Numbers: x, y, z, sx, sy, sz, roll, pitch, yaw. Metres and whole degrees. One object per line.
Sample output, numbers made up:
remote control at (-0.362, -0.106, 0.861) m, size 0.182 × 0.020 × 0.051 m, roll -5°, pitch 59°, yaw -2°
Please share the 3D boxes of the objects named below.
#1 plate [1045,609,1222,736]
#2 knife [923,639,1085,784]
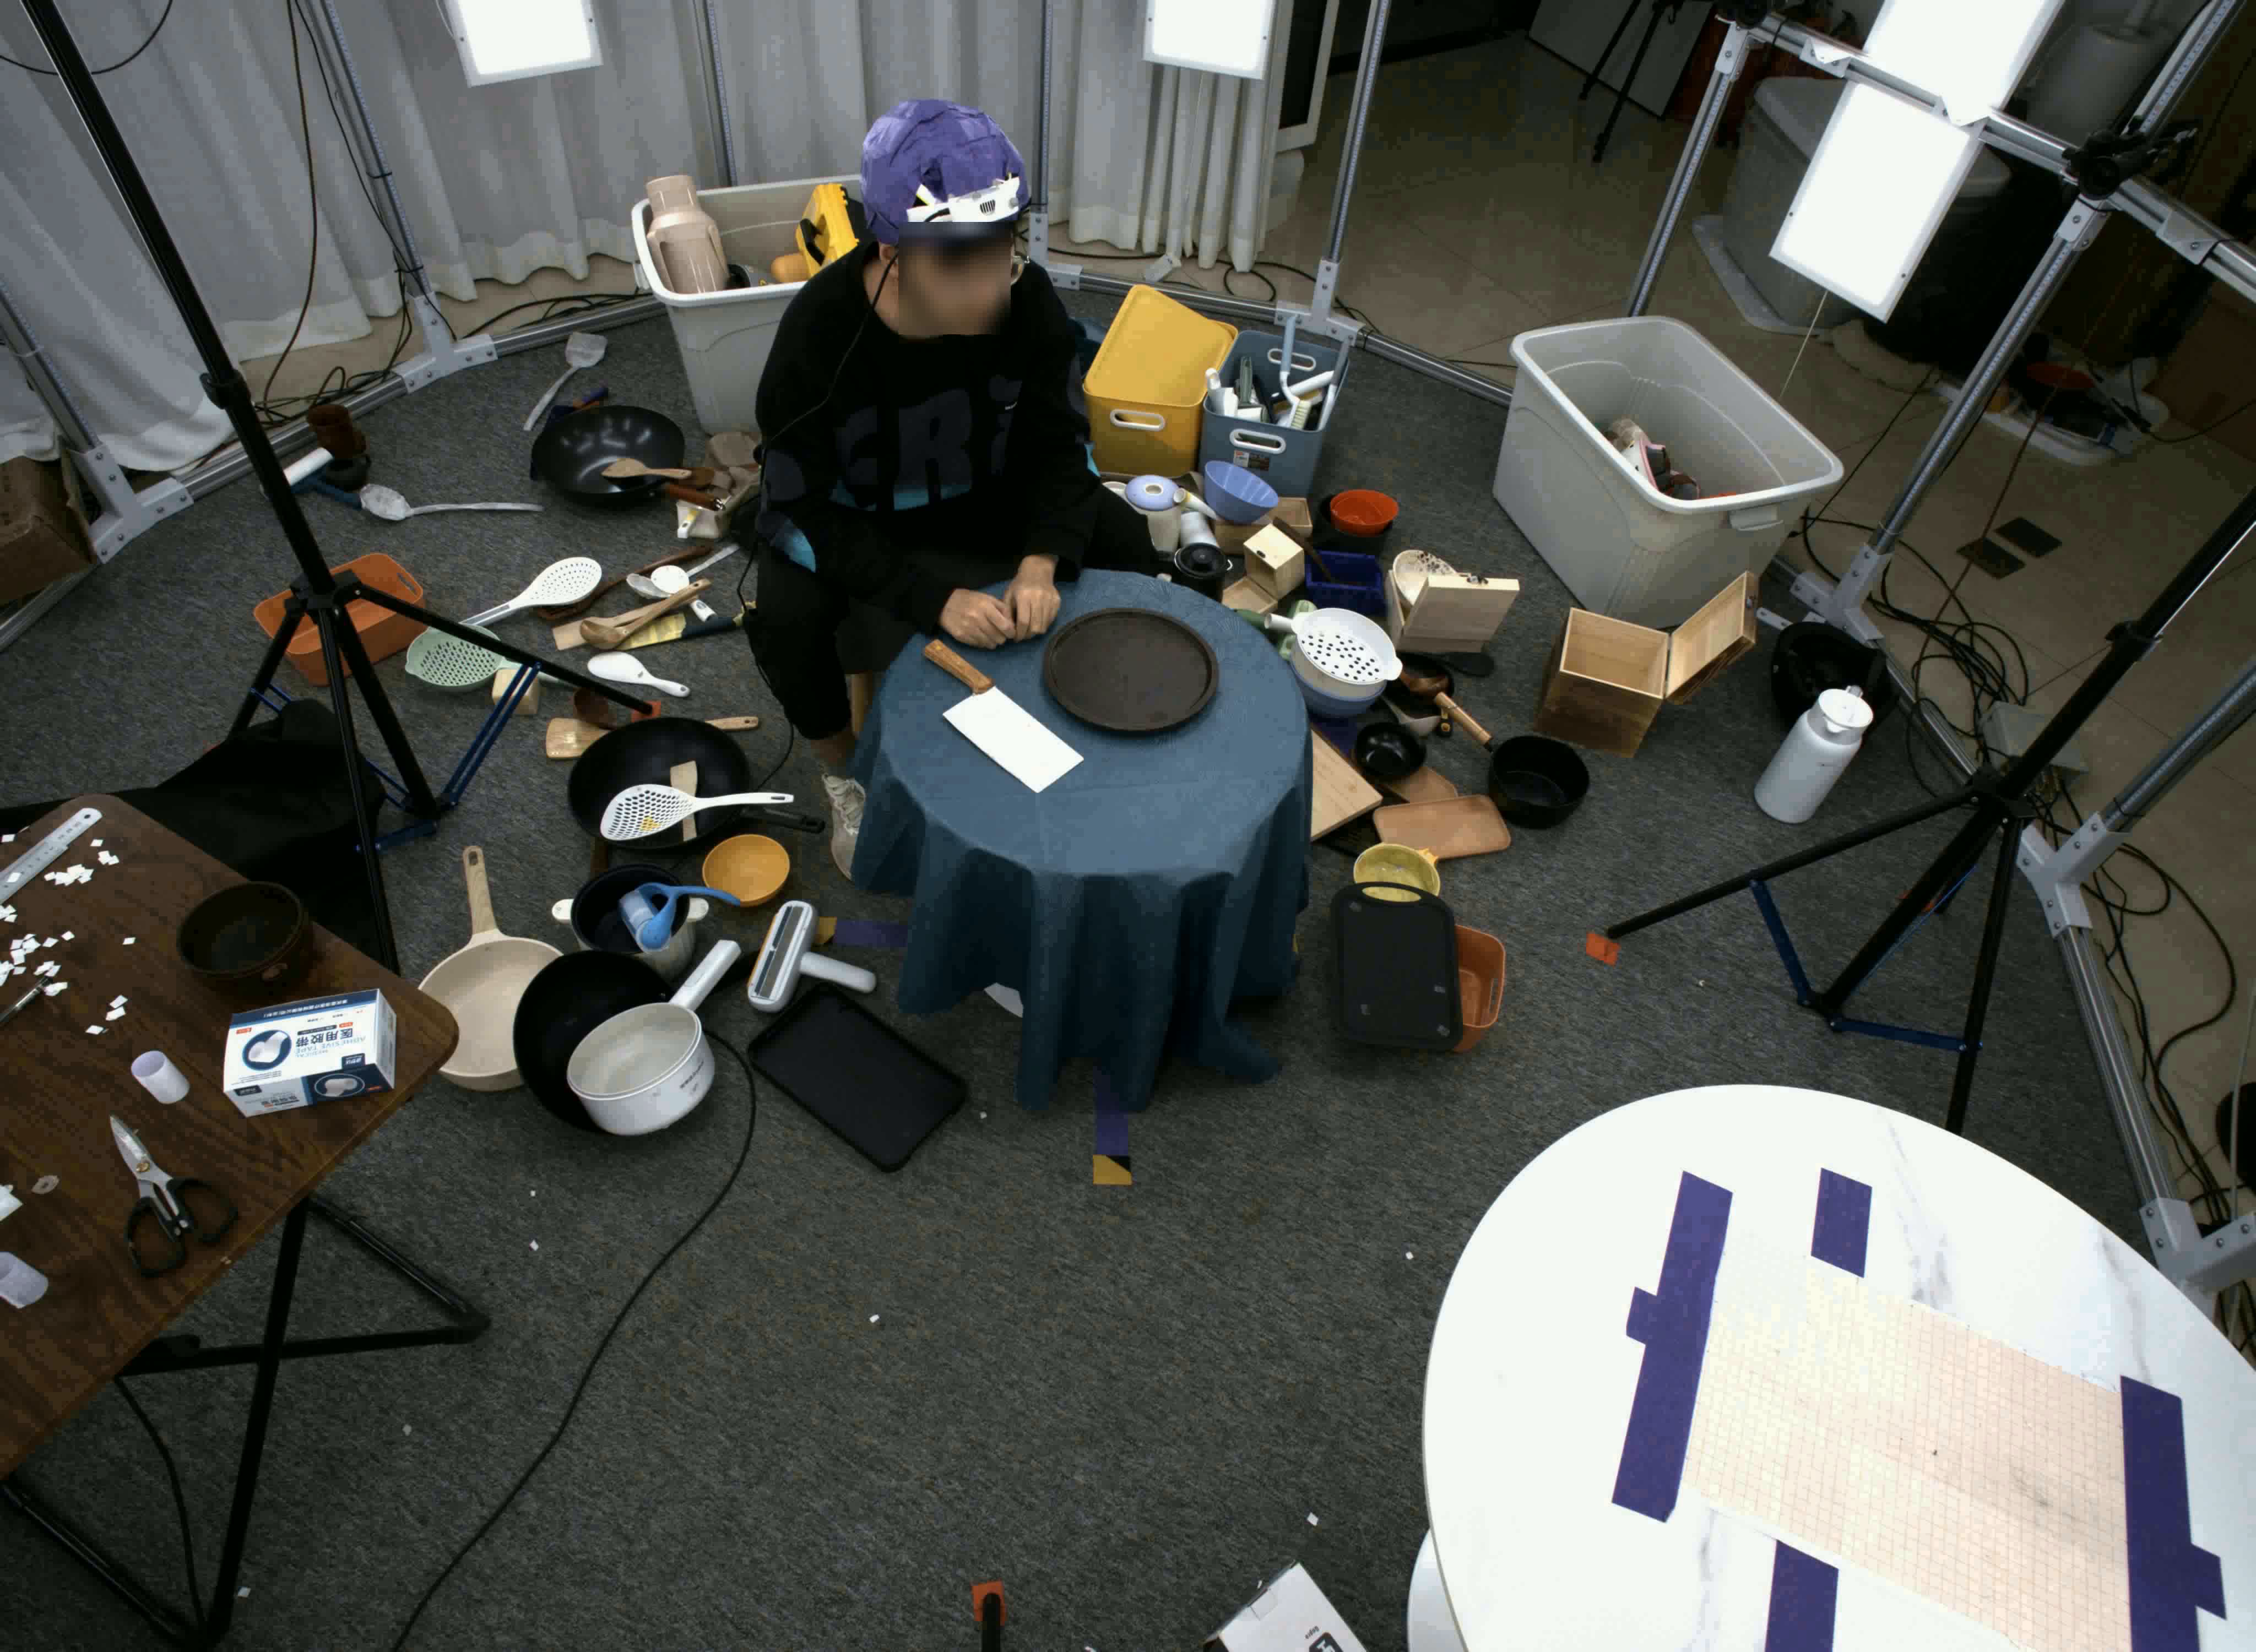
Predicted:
plate at (0.008, -0.223, 1.846) m, size 0.254 × 0.028 × 0.261 m, roll 1°, pitch 51°, yaw -2°
knife at (-0.194, -0.157, 1.782) m, size 0.310 × 0.020 × 0.094 m, roll 39°, pitch 59°, yaw 24°
